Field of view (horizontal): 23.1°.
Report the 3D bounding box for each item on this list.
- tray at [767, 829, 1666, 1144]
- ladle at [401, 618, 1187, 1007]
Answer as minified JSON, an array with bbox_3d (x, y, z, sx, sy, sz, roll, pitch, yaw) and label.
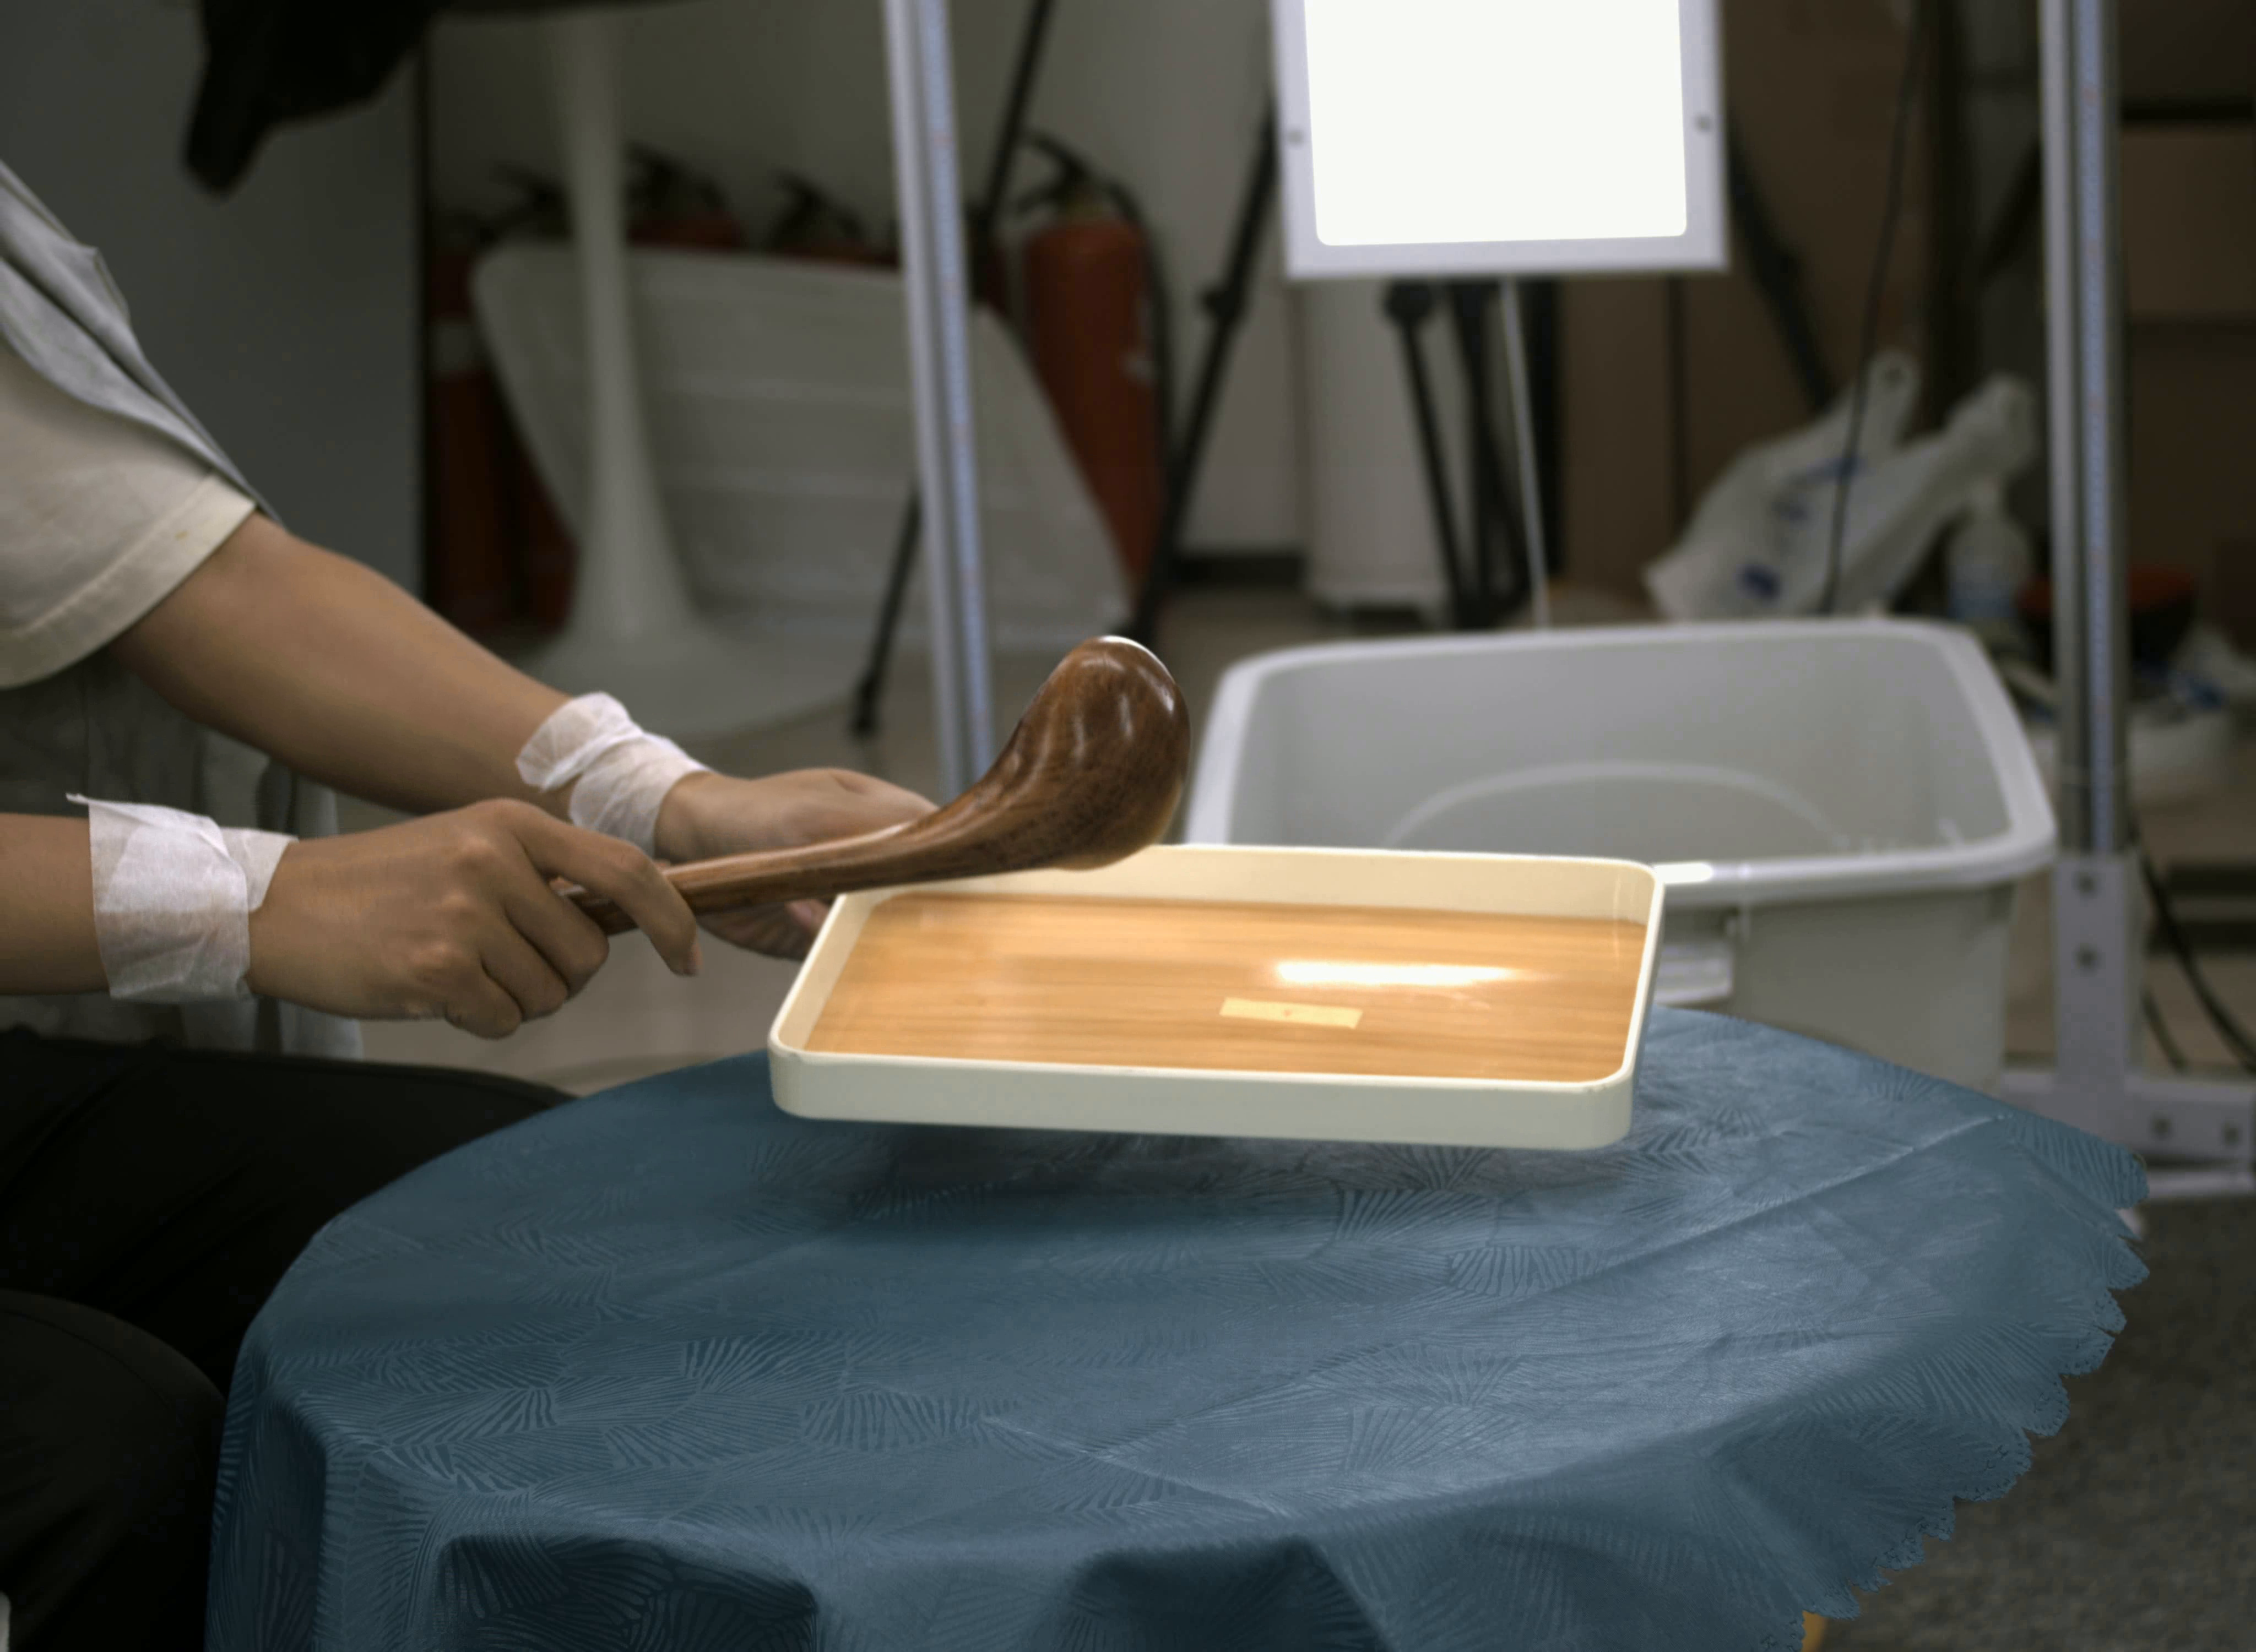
[{"bbox_3d":[0.035,0.055,1.947,0.302,0.027,0.189,2,24,11],"label":"tray"},{"bbox_3d":[-0.113,-0.003,1.855,0.275,0.082,0.076,-14,32,8],"label":"ladle"}]
